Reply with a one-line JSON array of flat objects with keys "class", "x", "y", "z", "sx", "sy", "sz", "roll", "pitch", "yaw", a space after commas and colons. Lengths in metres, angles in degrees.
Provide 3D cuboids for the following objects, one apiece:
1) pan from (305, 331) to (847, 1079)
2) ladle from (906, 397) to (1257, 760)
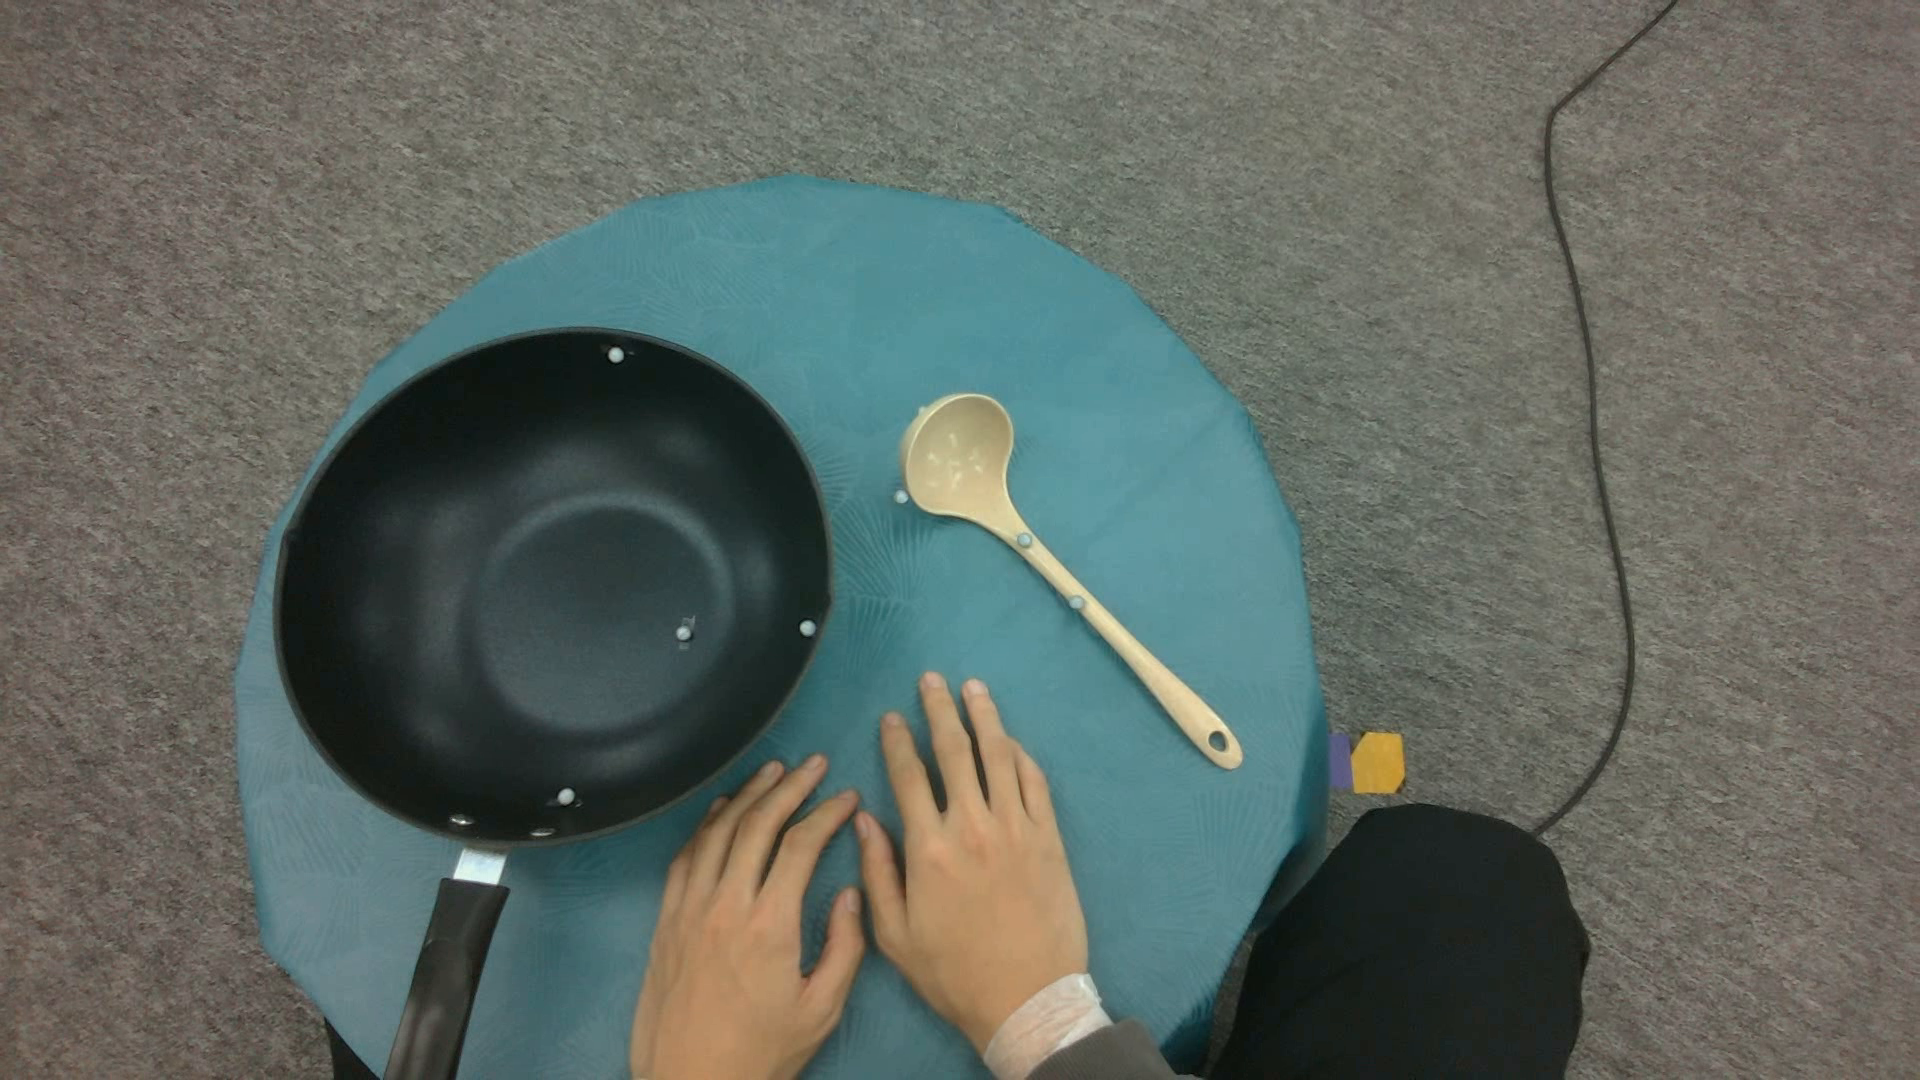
[{"class": "pan", "x": -0.214, "y": 0.114, "z": 0.720, "sx": 0.288, "sy": 0.086, "sz": 0.465, "roll": 8, "pitch": 70, "yaw": 5}, {"class": "ladle", "x": 0.071, "y": 0.020, "z": 0.751, "sx": 0.072, "sy": 0.072, "sz": 0.254, "roll": -41, "pitch": 72, "yaw": -14}]
